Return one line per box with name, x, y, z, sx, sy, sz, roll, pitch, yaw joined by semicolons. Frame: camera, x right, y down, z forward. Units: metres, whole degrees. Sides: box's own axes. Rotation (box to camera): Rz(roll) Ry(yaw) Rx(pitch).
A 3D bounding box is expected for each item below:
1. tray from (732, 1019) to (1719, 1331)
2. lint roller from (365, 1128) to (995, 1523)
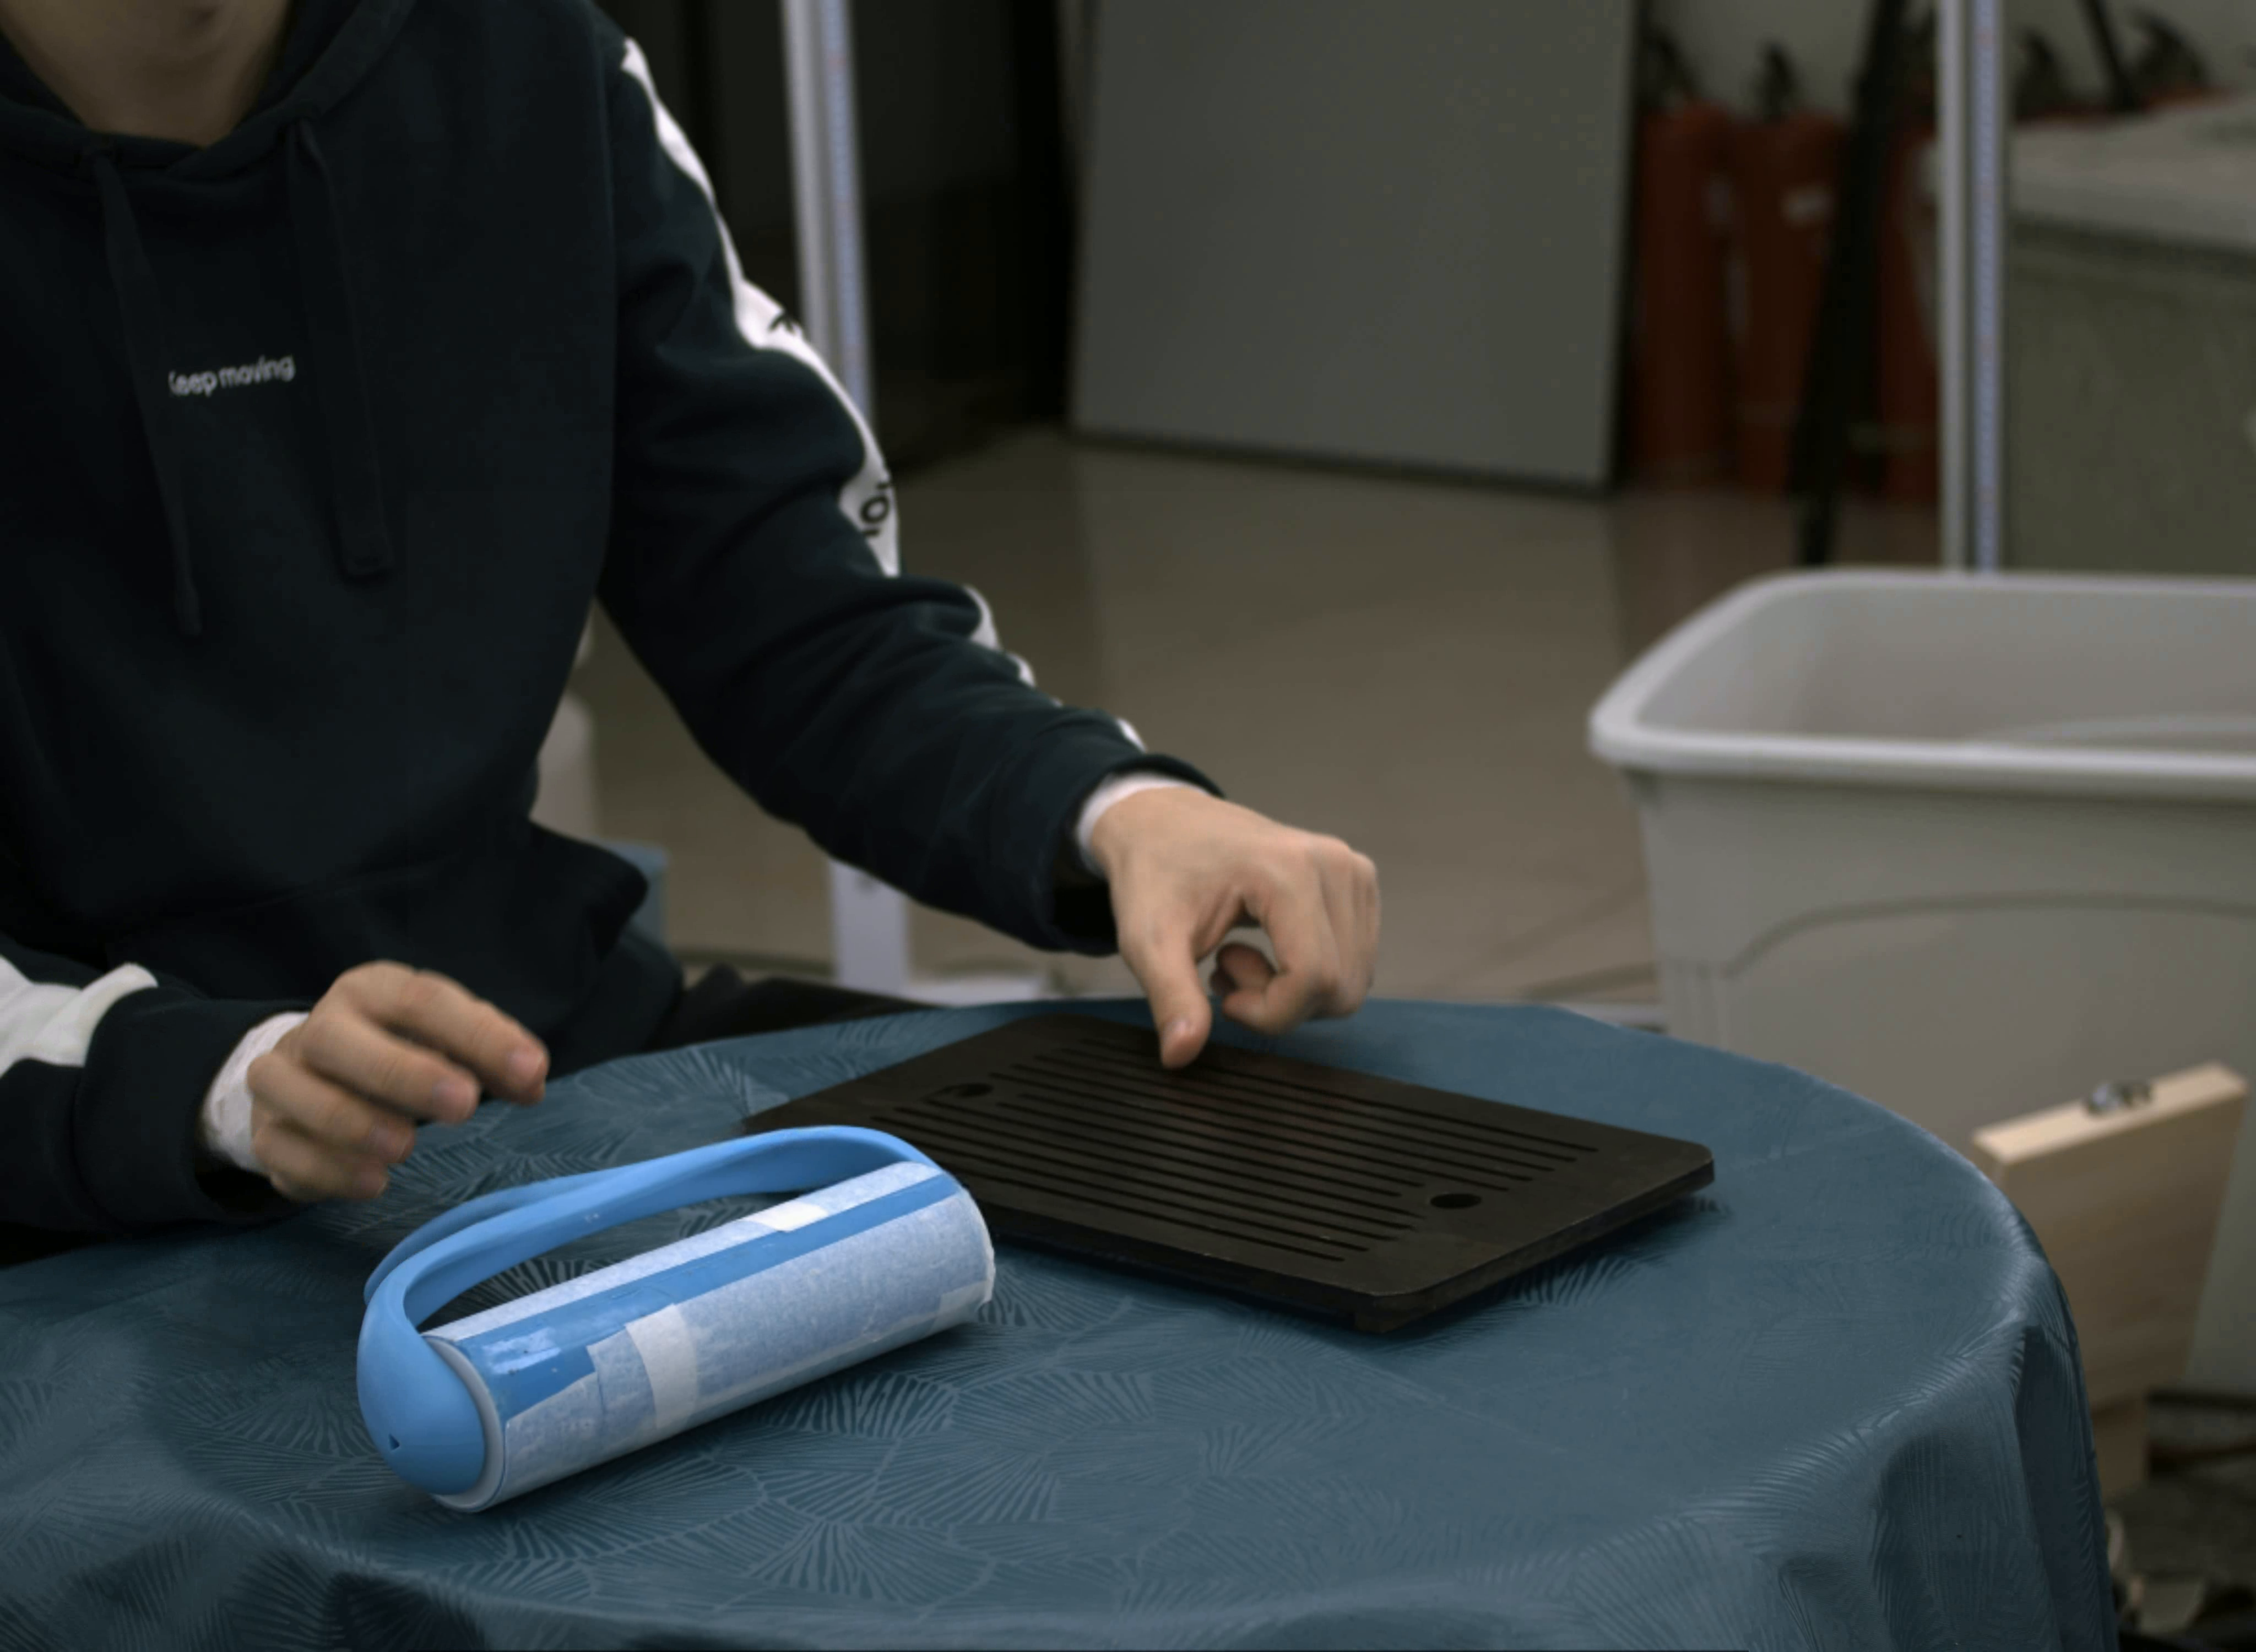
tray;0.028;0.111;1.766;0.308;0.019;0.167;9;19;43
lint roller;-0.169;0.140;1.626;0.182;0.068;0.224;11;22;41
